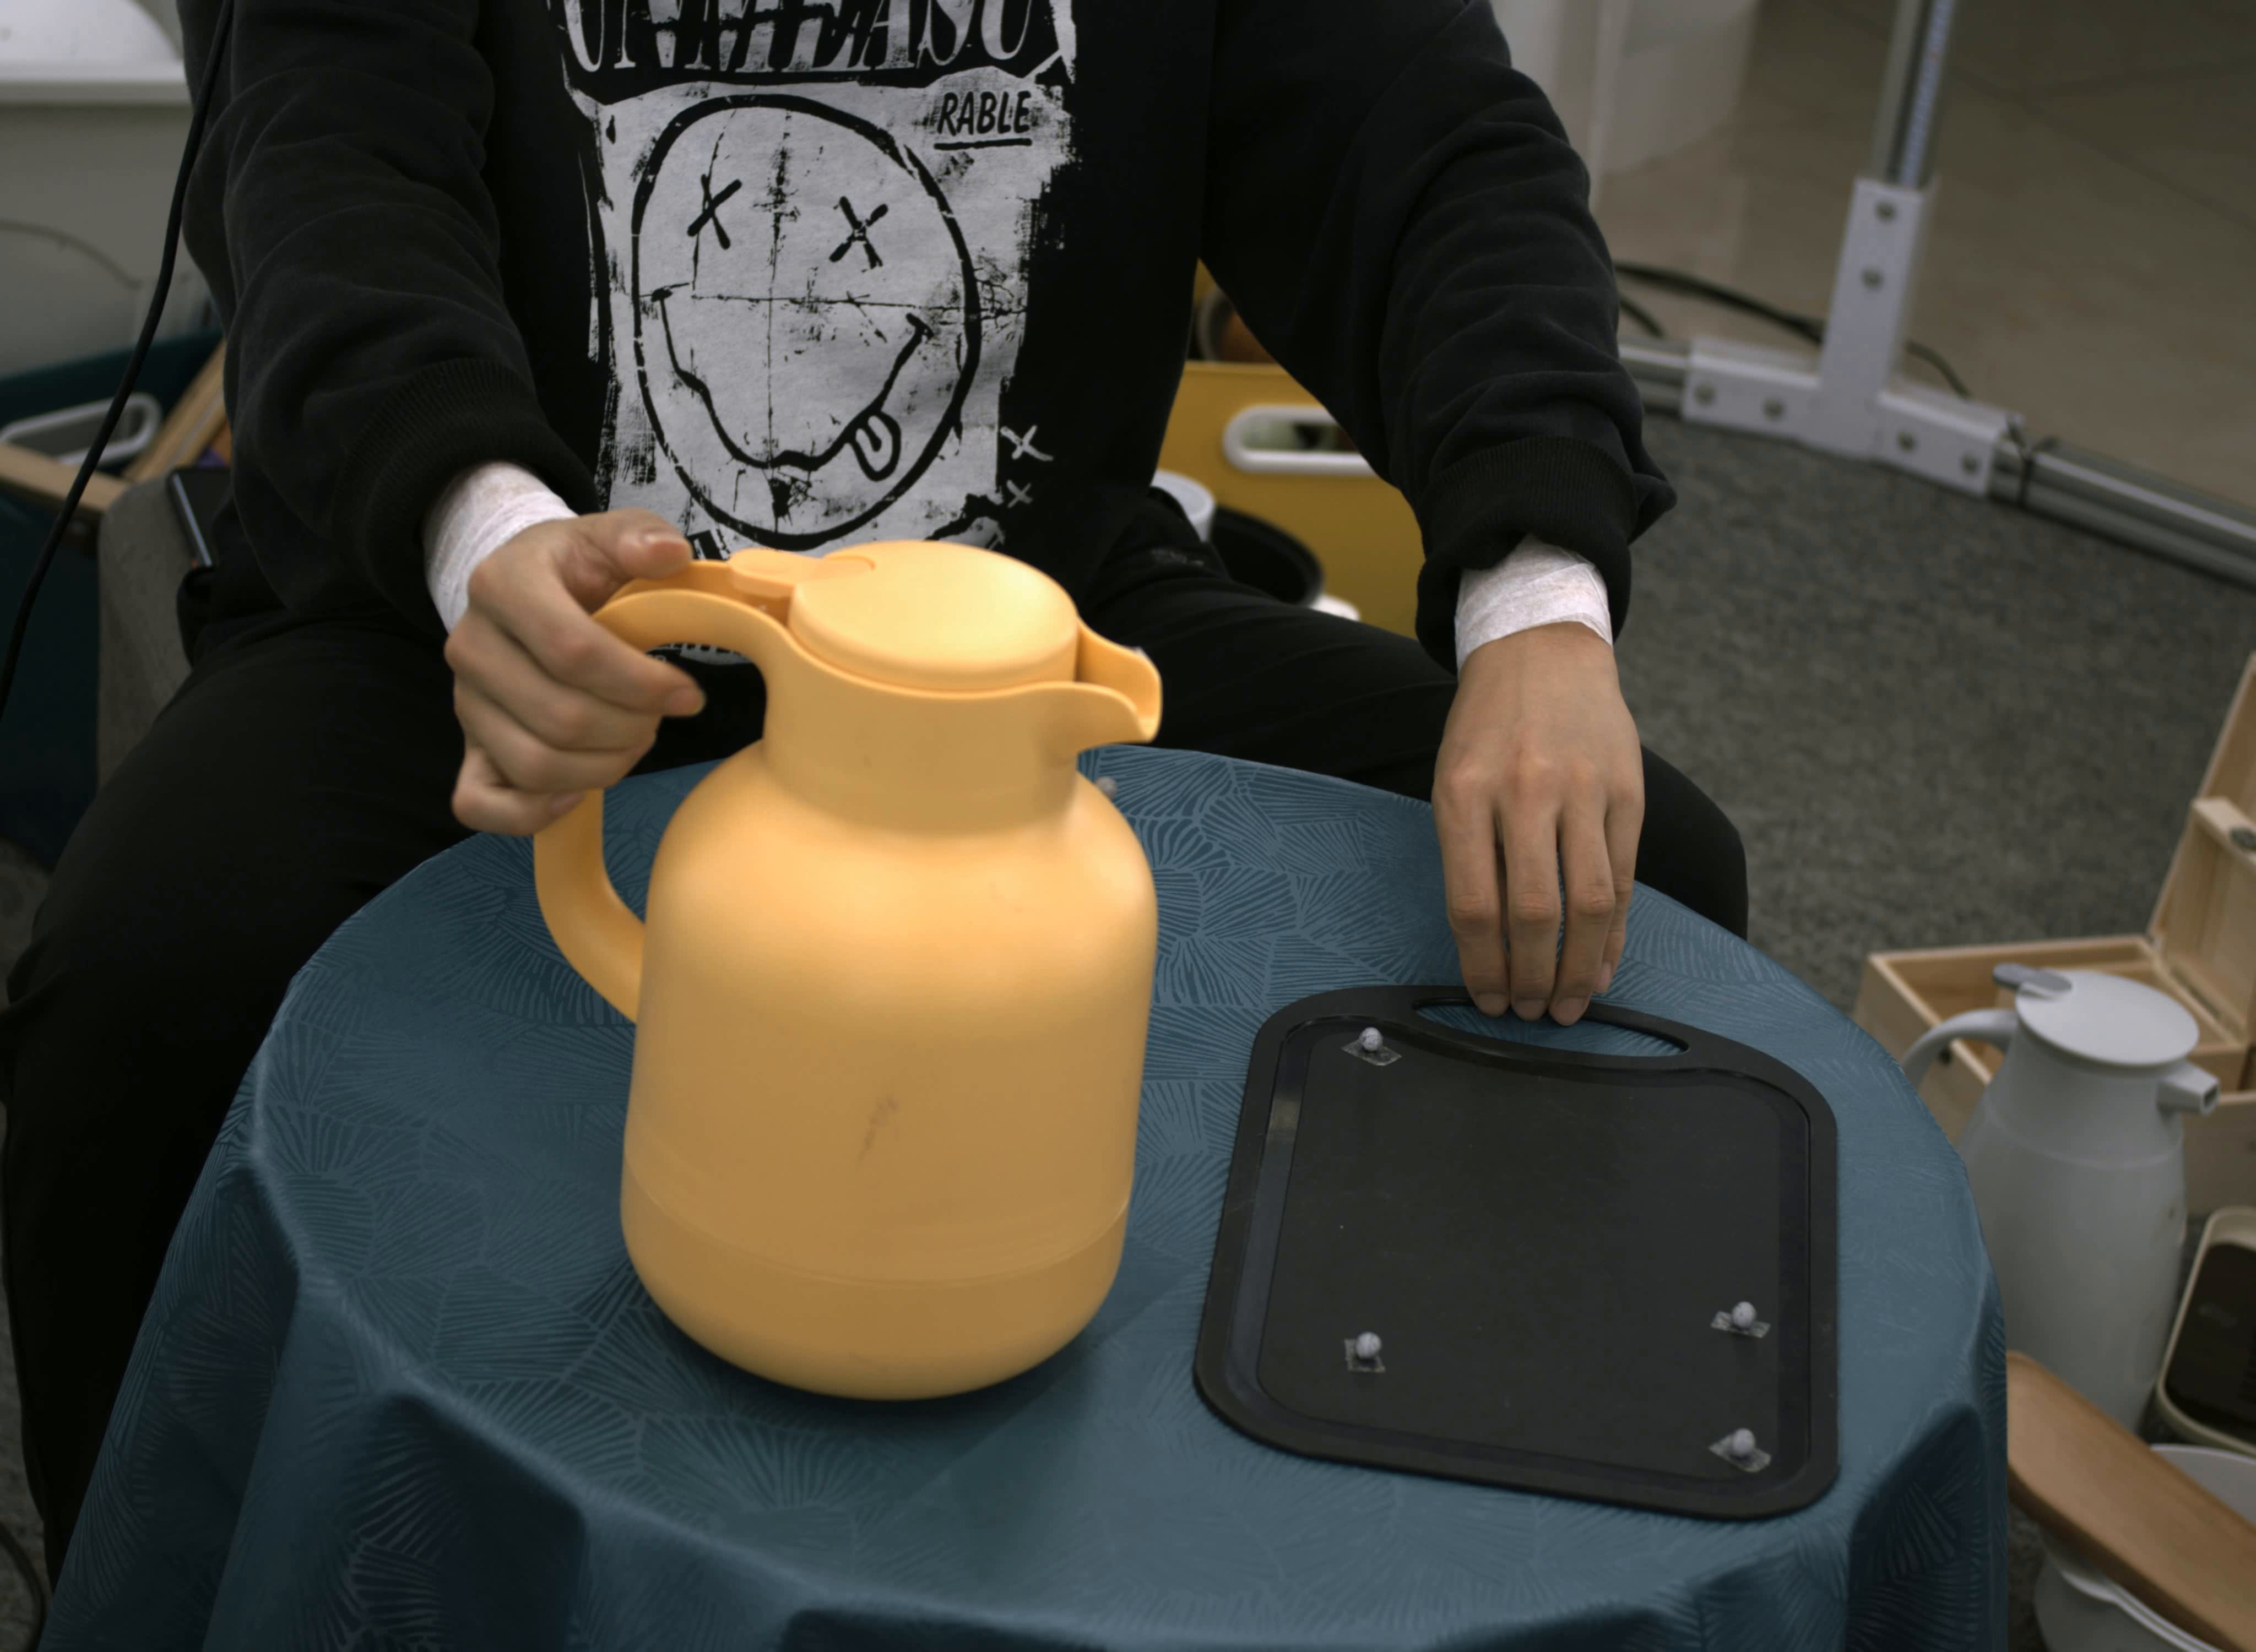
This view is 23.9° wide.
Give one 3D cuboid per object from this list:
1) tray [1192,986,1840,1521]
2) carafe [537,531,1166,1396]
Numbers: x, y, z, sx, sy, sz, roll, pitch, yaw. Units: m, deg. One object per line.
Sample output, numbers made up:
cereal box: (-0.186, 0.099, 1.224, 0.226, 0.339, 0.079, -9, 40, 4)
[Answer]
tray: (0.137, 0.134, 1.808, 0.211, 0.010, 0.327, 9, 27, 4)
carafe: (-0.091, 0.032, 1.674, 0.203, 0.260, 0.163, 17, 25, 16)
